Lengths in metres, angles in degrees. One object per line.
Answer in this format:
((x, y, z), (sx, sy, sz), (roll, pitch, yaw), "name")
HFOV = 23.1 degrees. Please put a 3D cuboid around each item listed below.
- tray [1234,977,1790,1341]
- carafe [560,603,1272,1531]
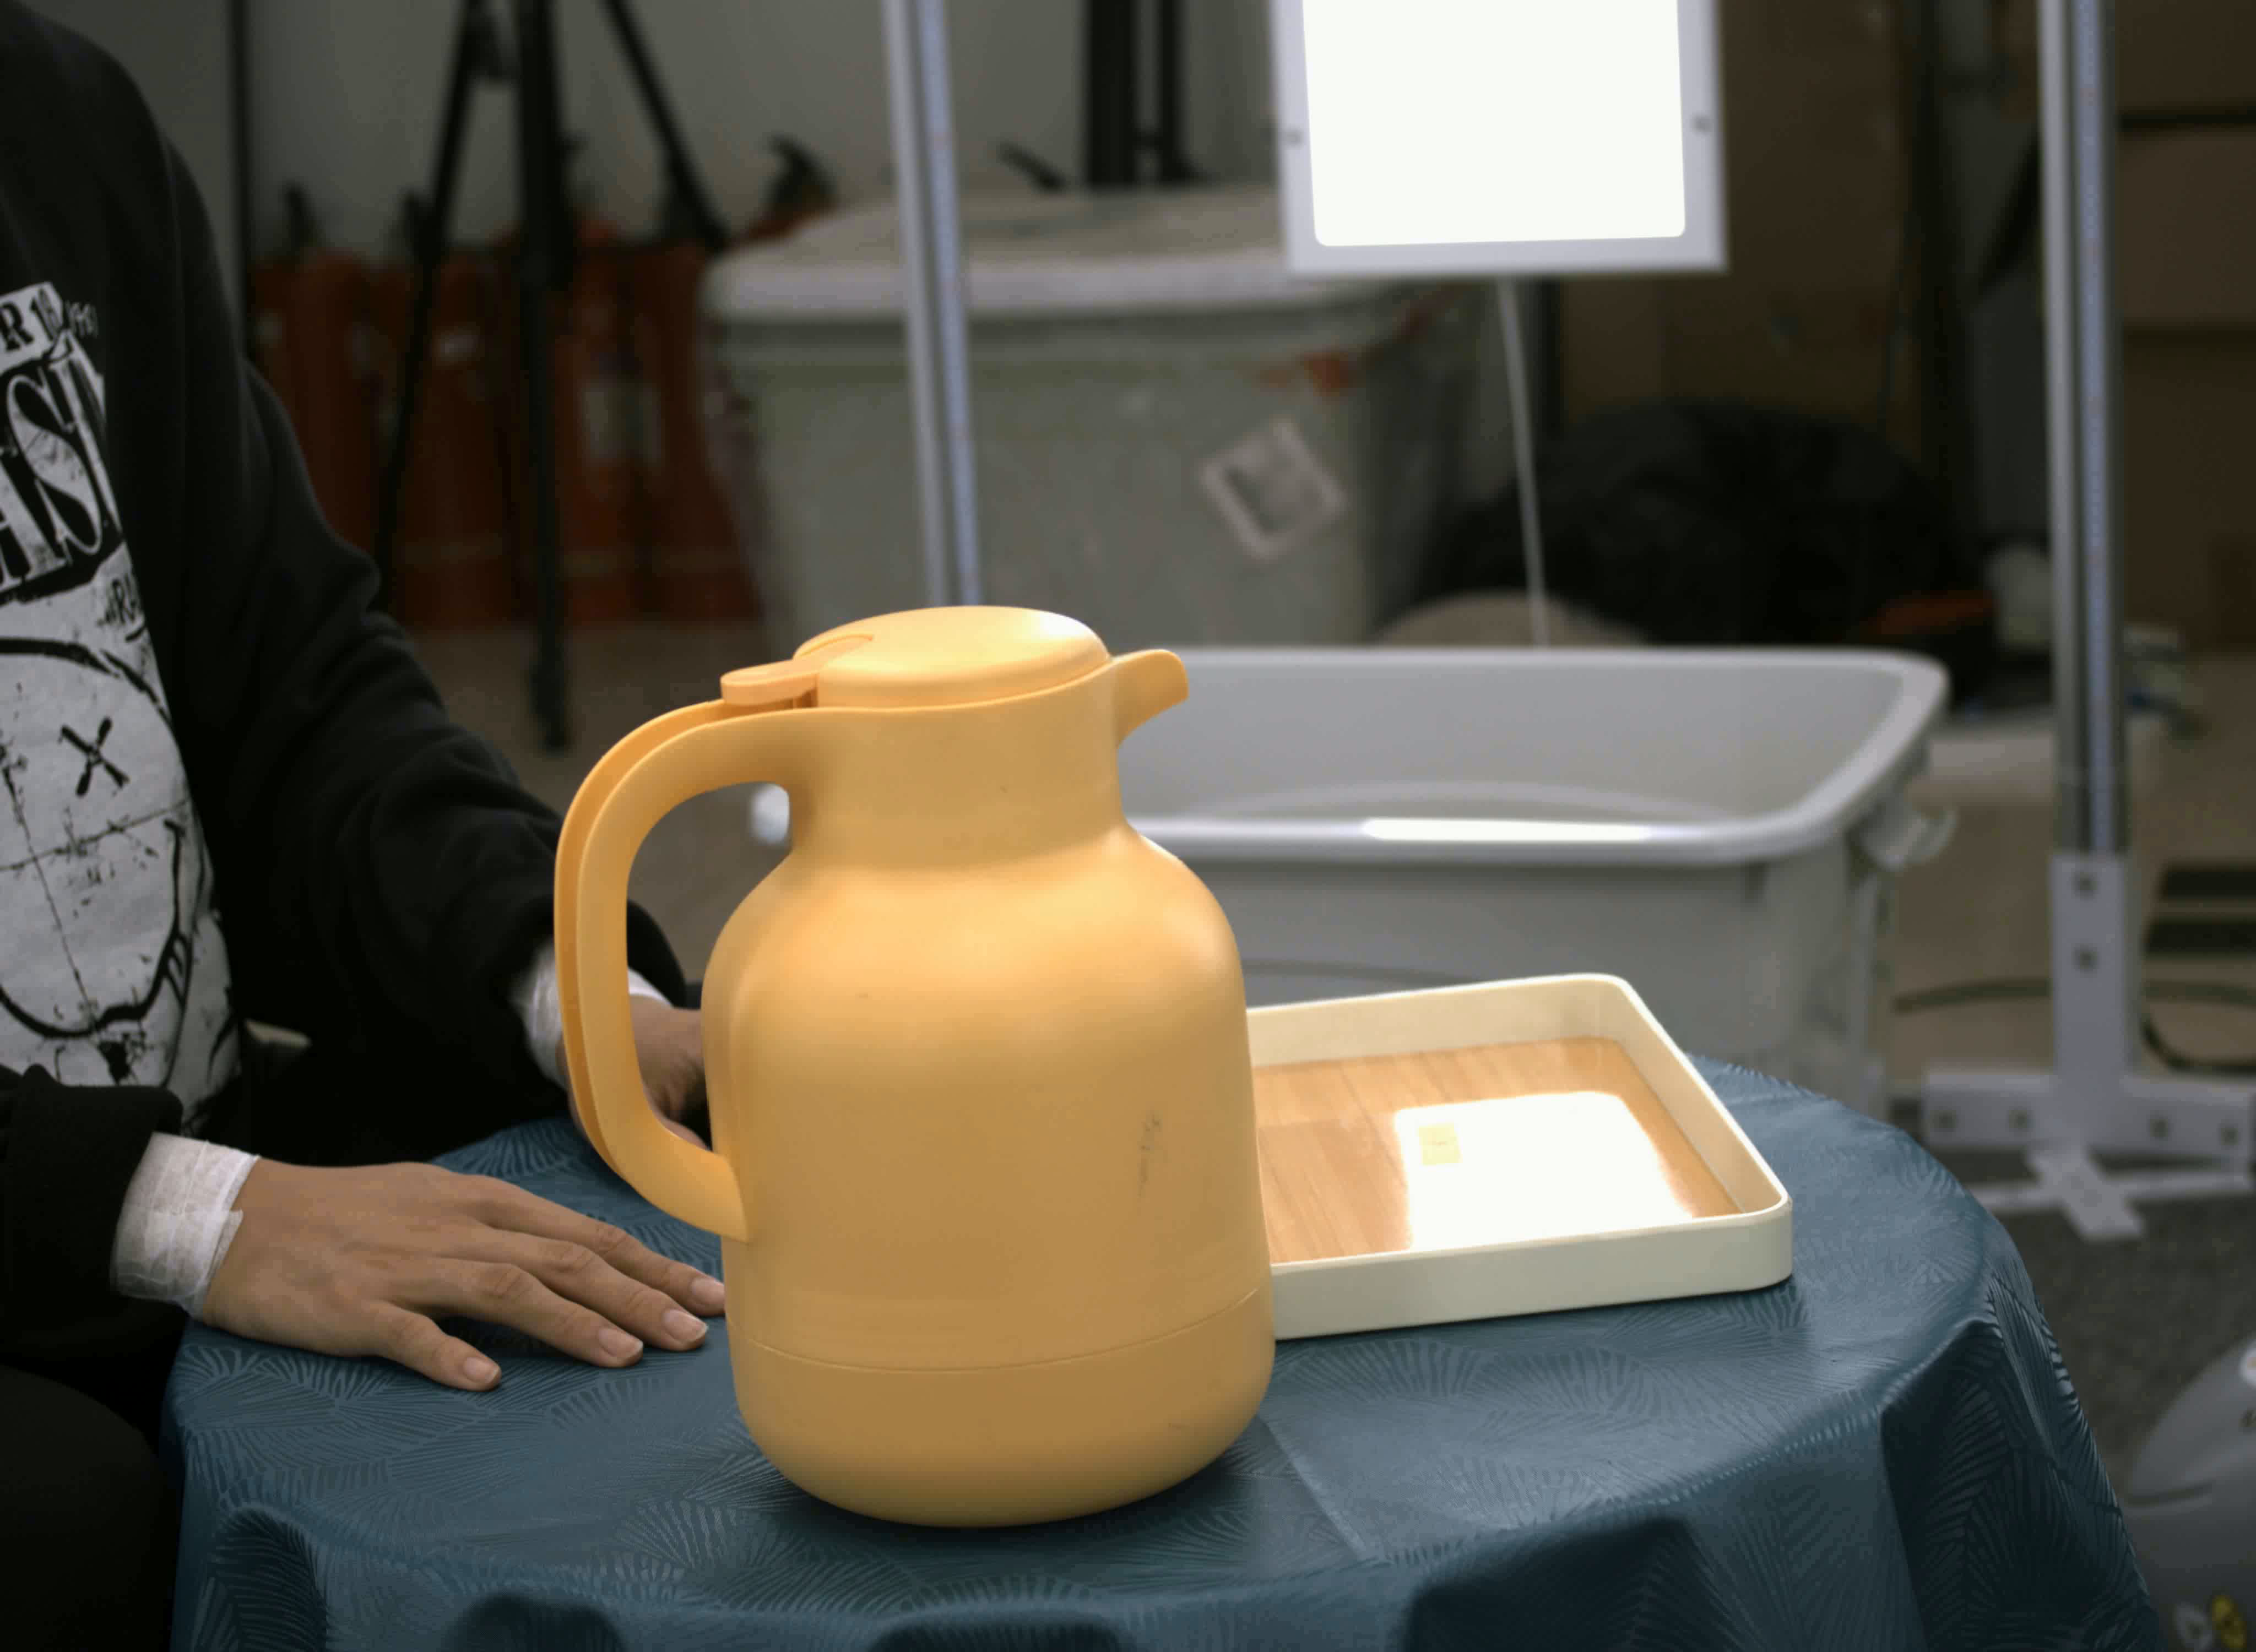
((0.104, 0.109, 1.875), (0.190, 0.027, 0.301), (-6, 14, -4), "tray")
((-0.063, 0.069, 1.615), (0.199, 0.261, 0.165), (-8, 12, -16), "carafe")
